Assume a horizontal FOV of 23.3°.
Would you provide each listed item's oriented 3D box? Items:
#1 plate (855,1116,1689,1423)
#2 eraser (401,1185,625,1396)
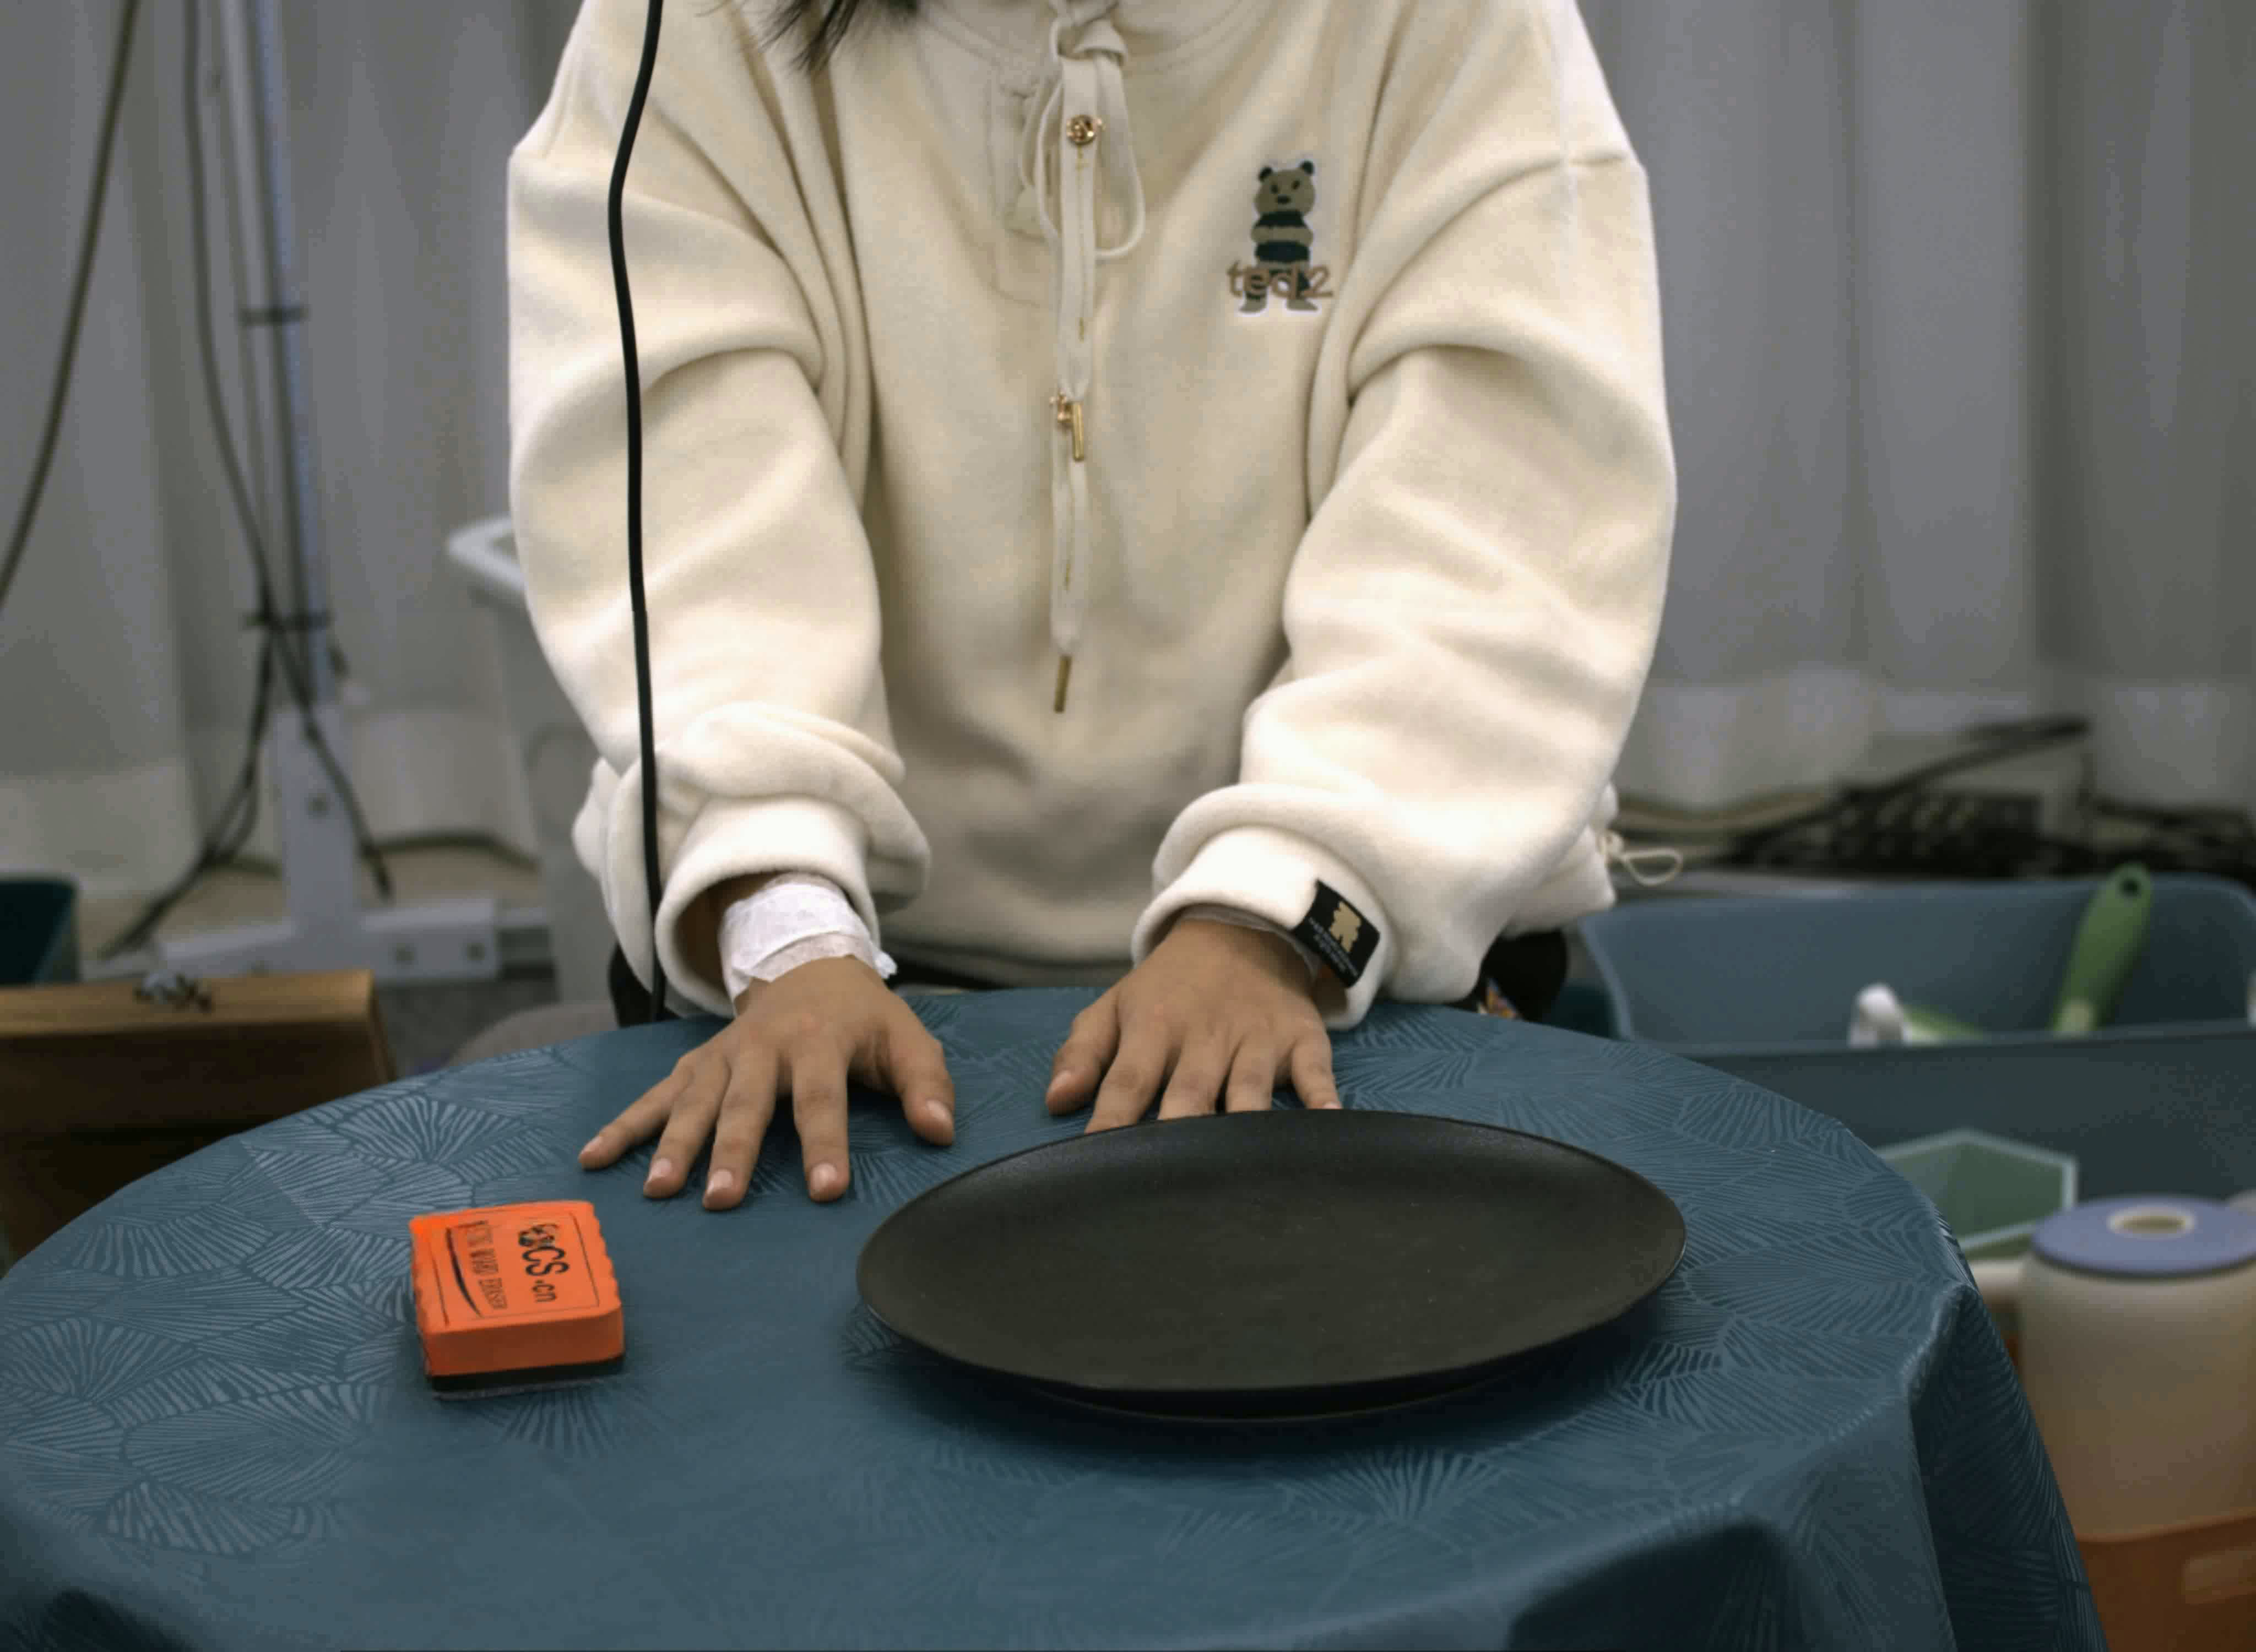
[{"bbox_3d":[0.042,0.131,1.598,0.243,0.023,0.246,-3,15,0],"label":"plate"},{"bbox_3d":[-0.182,0.136,1.613,0.059,0.023,0.109,-7,17,-10],"label":"eraser"}]
